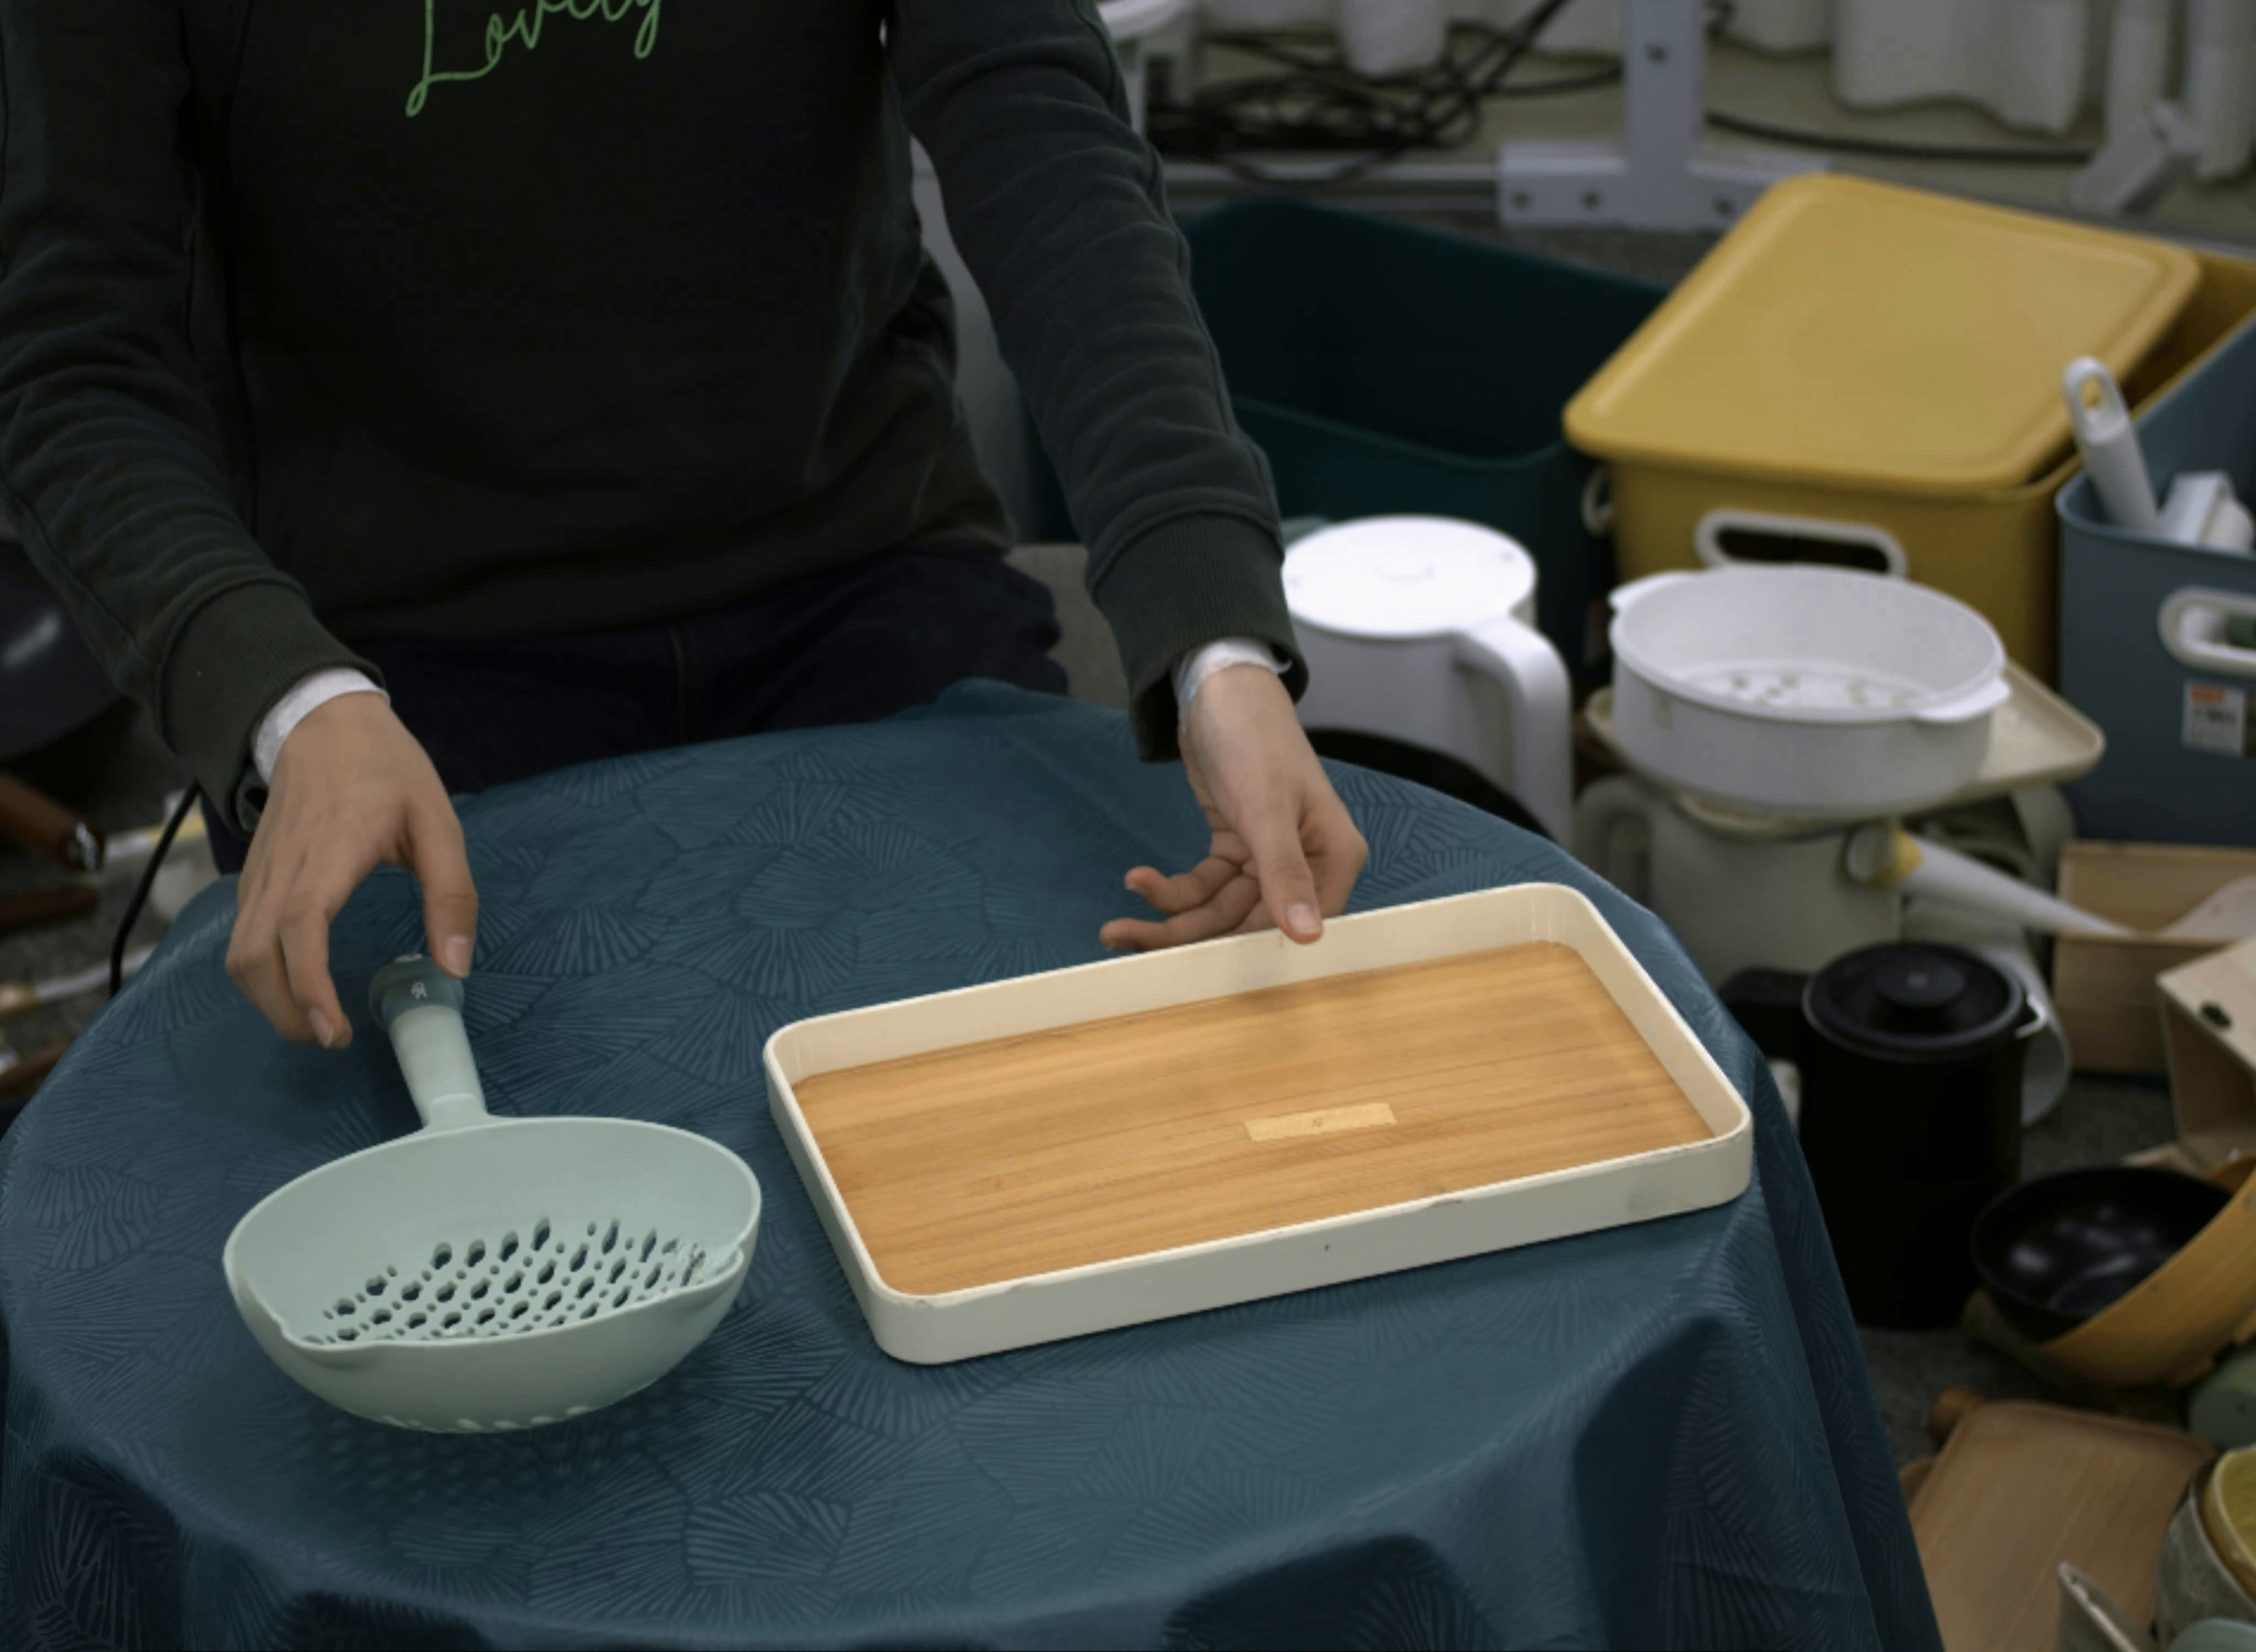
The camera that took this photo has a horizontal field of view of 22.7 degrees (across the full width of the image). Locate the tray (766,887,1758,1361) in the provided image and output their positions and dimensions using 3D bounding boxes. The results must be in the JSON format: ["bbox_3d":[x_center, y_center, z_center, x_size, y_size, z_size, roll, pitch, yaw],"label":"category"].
[{"bbox_3d":[0.042,0.096,1.878,0.300,0.027,0.193,-10,28,-13],"label":"tray"}]

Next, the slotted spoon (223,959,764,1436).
[{"bbox_3d":[-0.218,0.106,1.844,0.169,0.074,0.363,-8,27,-11],"label":"slotted spoon"}]
